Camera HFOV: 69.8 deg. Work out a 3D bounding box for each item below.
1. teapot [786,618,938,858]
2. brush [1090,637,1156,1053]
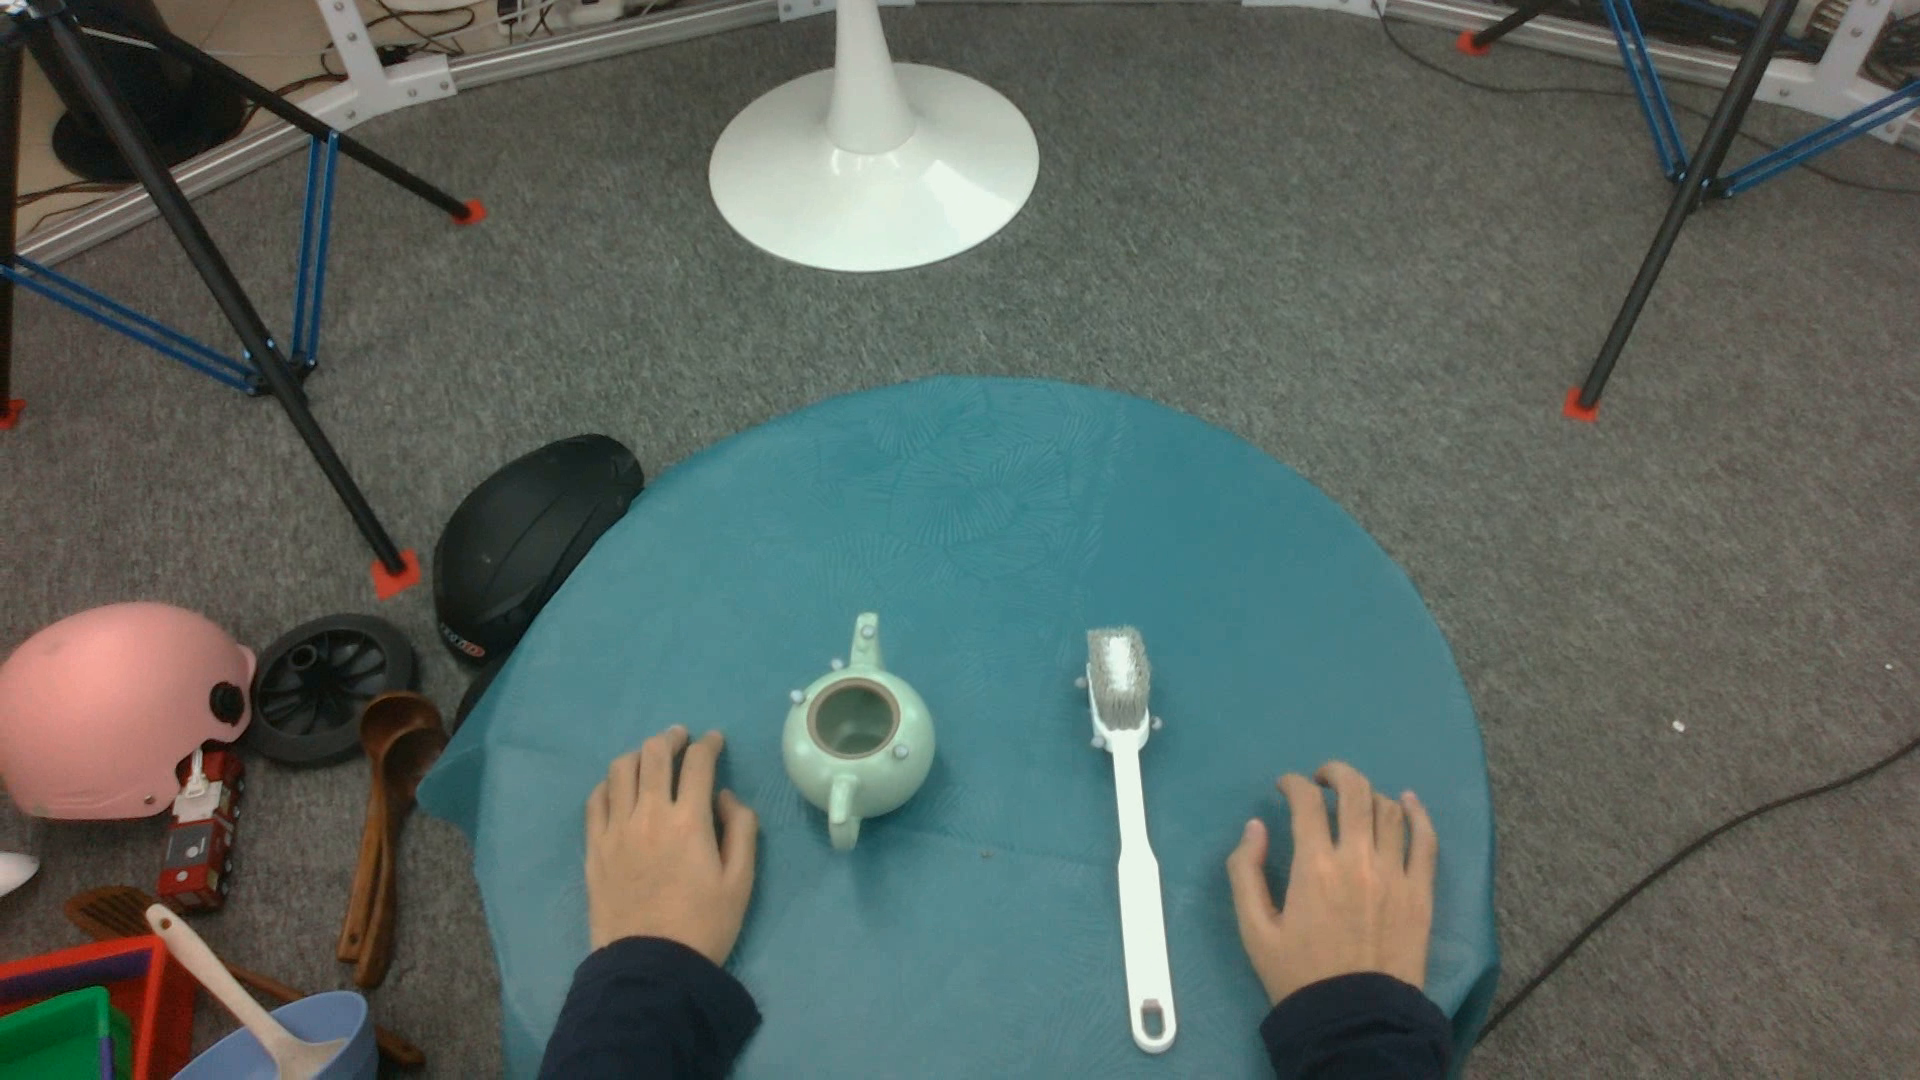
[{"bbox_3d":[-0.057,0.122,0.804,0.088,0.074,0.144,5,52,5],"label":"teapot"},{"bbox_3d":[0.095,0.161,0.781,0.034,0.050,0.245,3,52,-1],"label":"brush"}]
